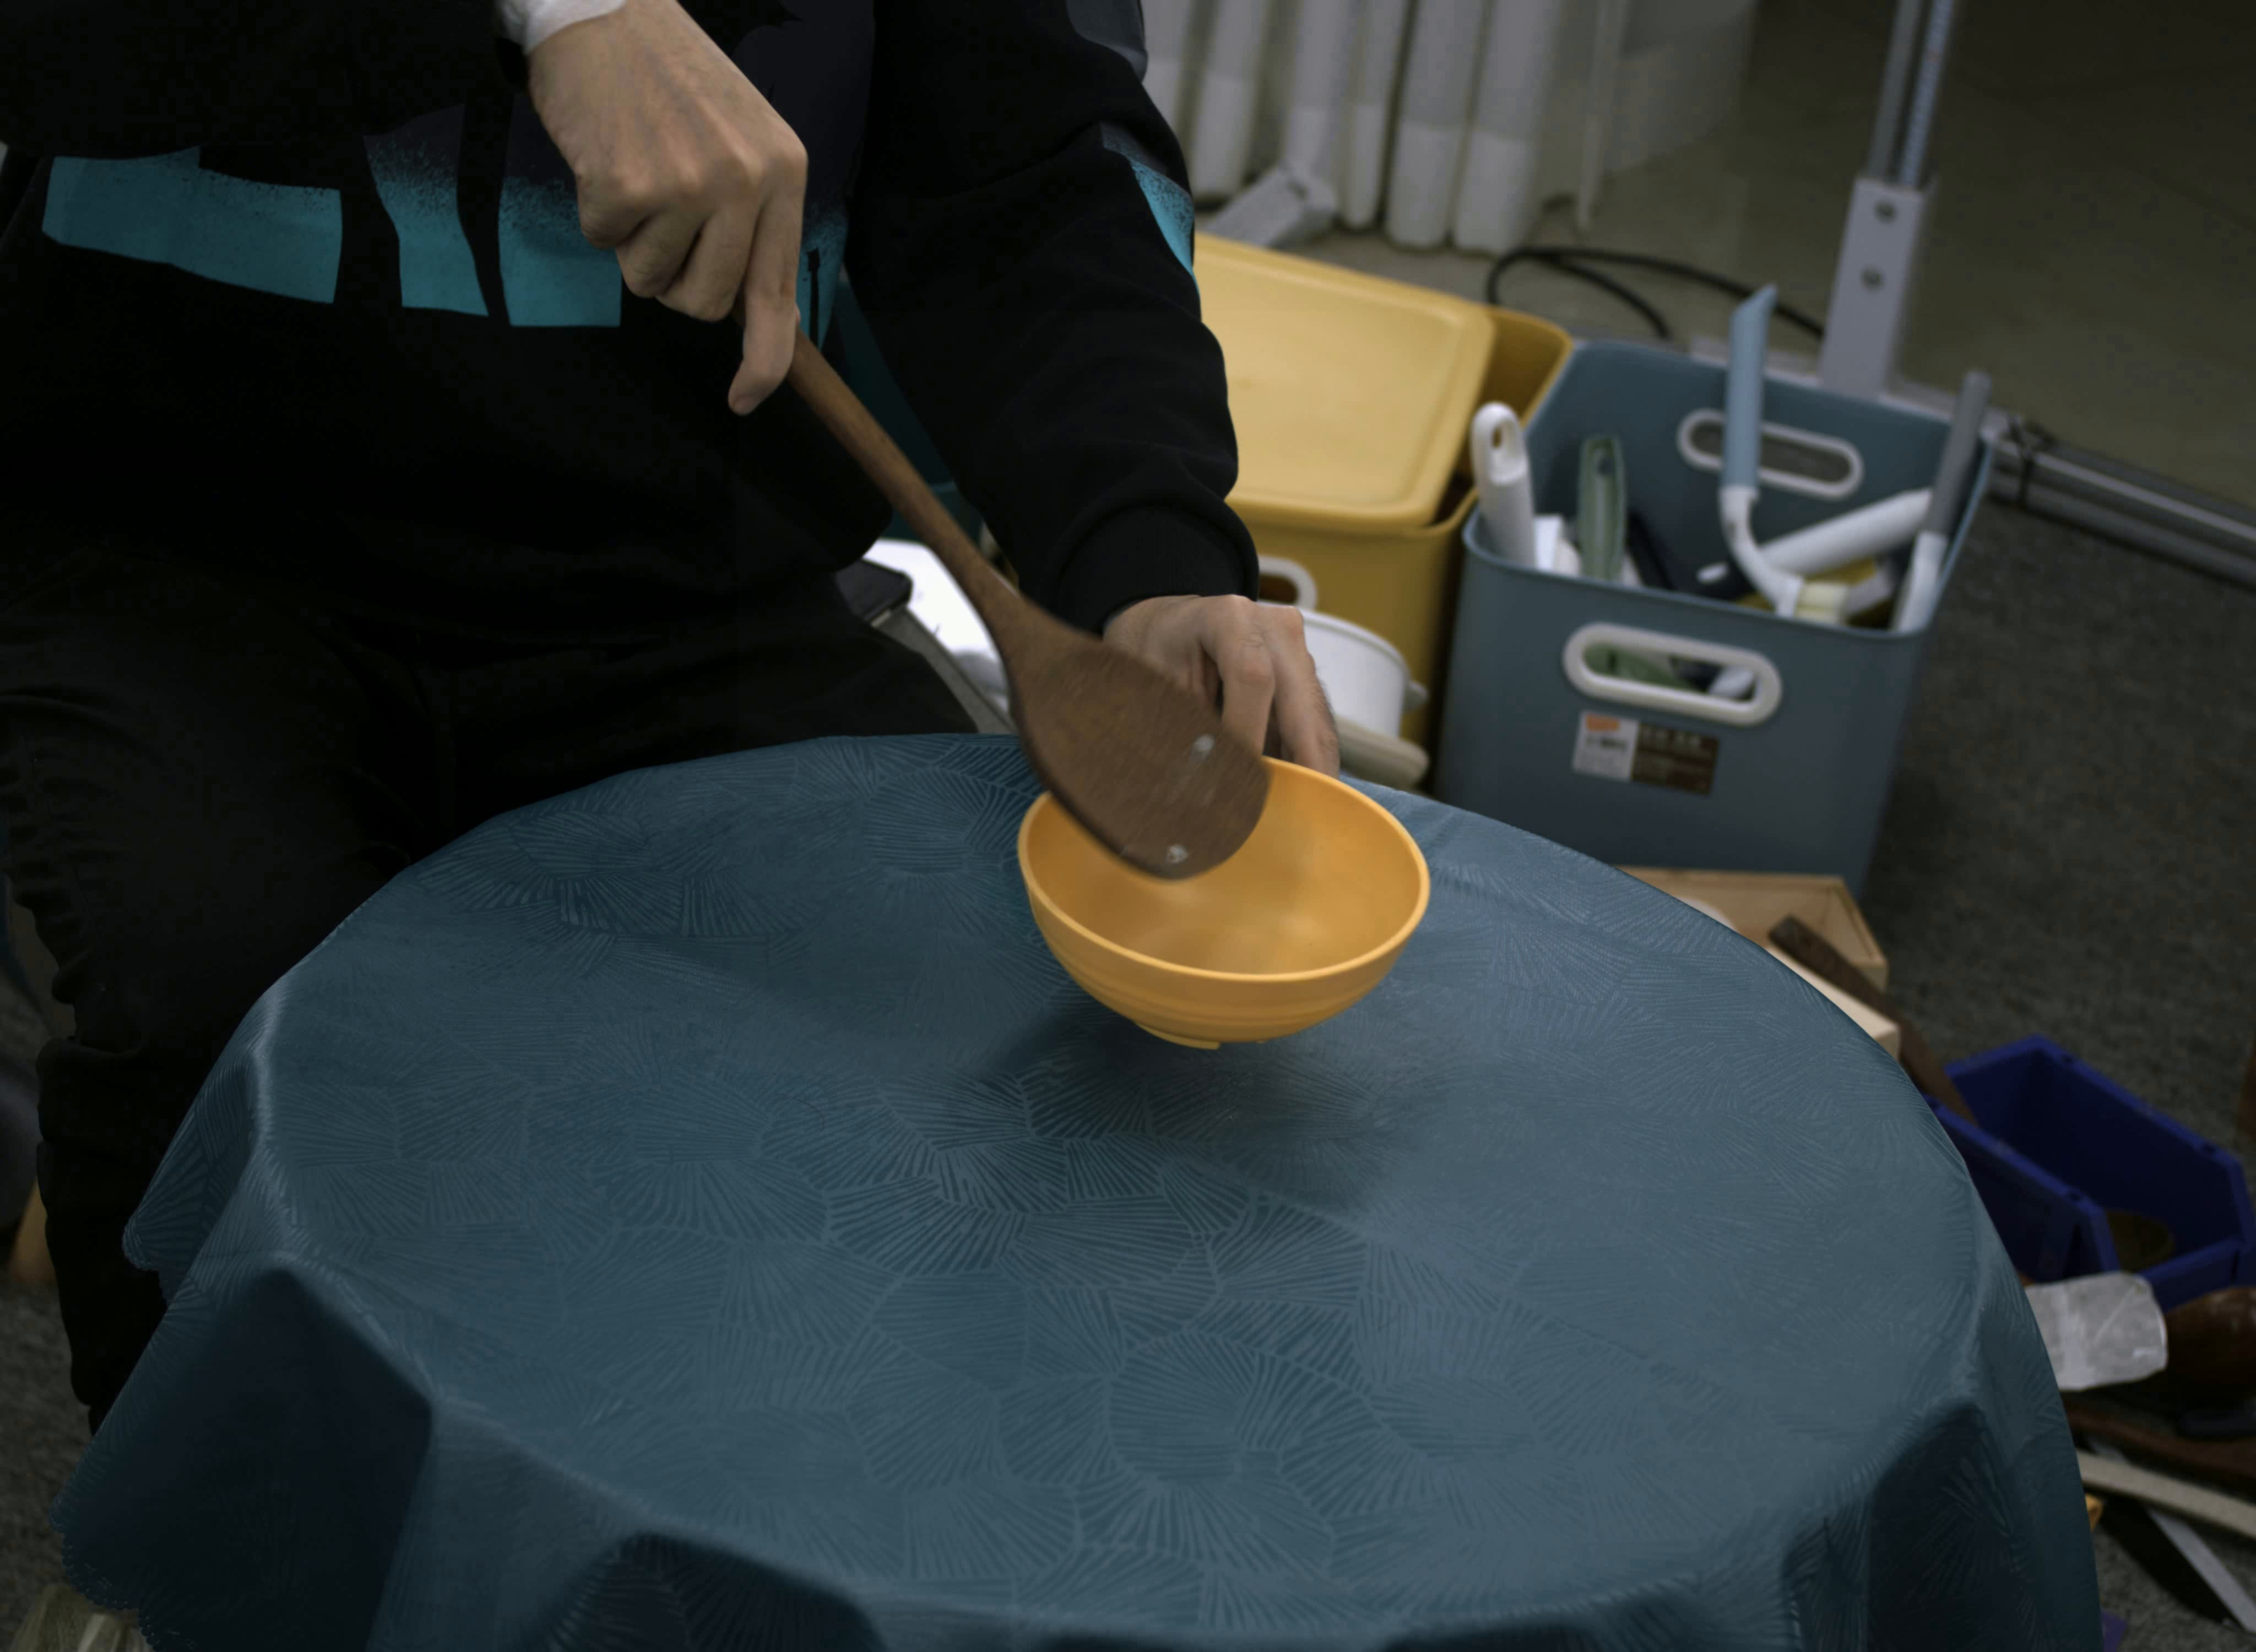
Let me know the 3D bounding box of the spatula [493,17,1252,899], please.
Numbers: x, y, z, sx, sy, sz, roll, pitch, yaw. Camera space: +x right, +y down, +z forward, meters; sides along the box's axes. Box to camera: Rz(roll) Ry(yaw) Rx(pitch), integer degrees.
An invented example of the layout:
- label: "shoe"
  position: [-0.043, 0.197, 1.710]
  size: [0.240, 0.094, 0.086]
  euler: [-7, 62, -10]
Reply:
- label: "spatula"
  position: [-0.093, -0.132, 1.842]
  size: [0.386, 0.016, 0.096]
  euler: [51, 38, 0]

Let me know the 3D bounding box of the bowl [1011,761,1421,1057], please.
- label: "bowl"
  position: [0.027, 0.038, 1.865]
  size: [0.145, 0.060, 0.146]
  euler: [6, 30, -4]
